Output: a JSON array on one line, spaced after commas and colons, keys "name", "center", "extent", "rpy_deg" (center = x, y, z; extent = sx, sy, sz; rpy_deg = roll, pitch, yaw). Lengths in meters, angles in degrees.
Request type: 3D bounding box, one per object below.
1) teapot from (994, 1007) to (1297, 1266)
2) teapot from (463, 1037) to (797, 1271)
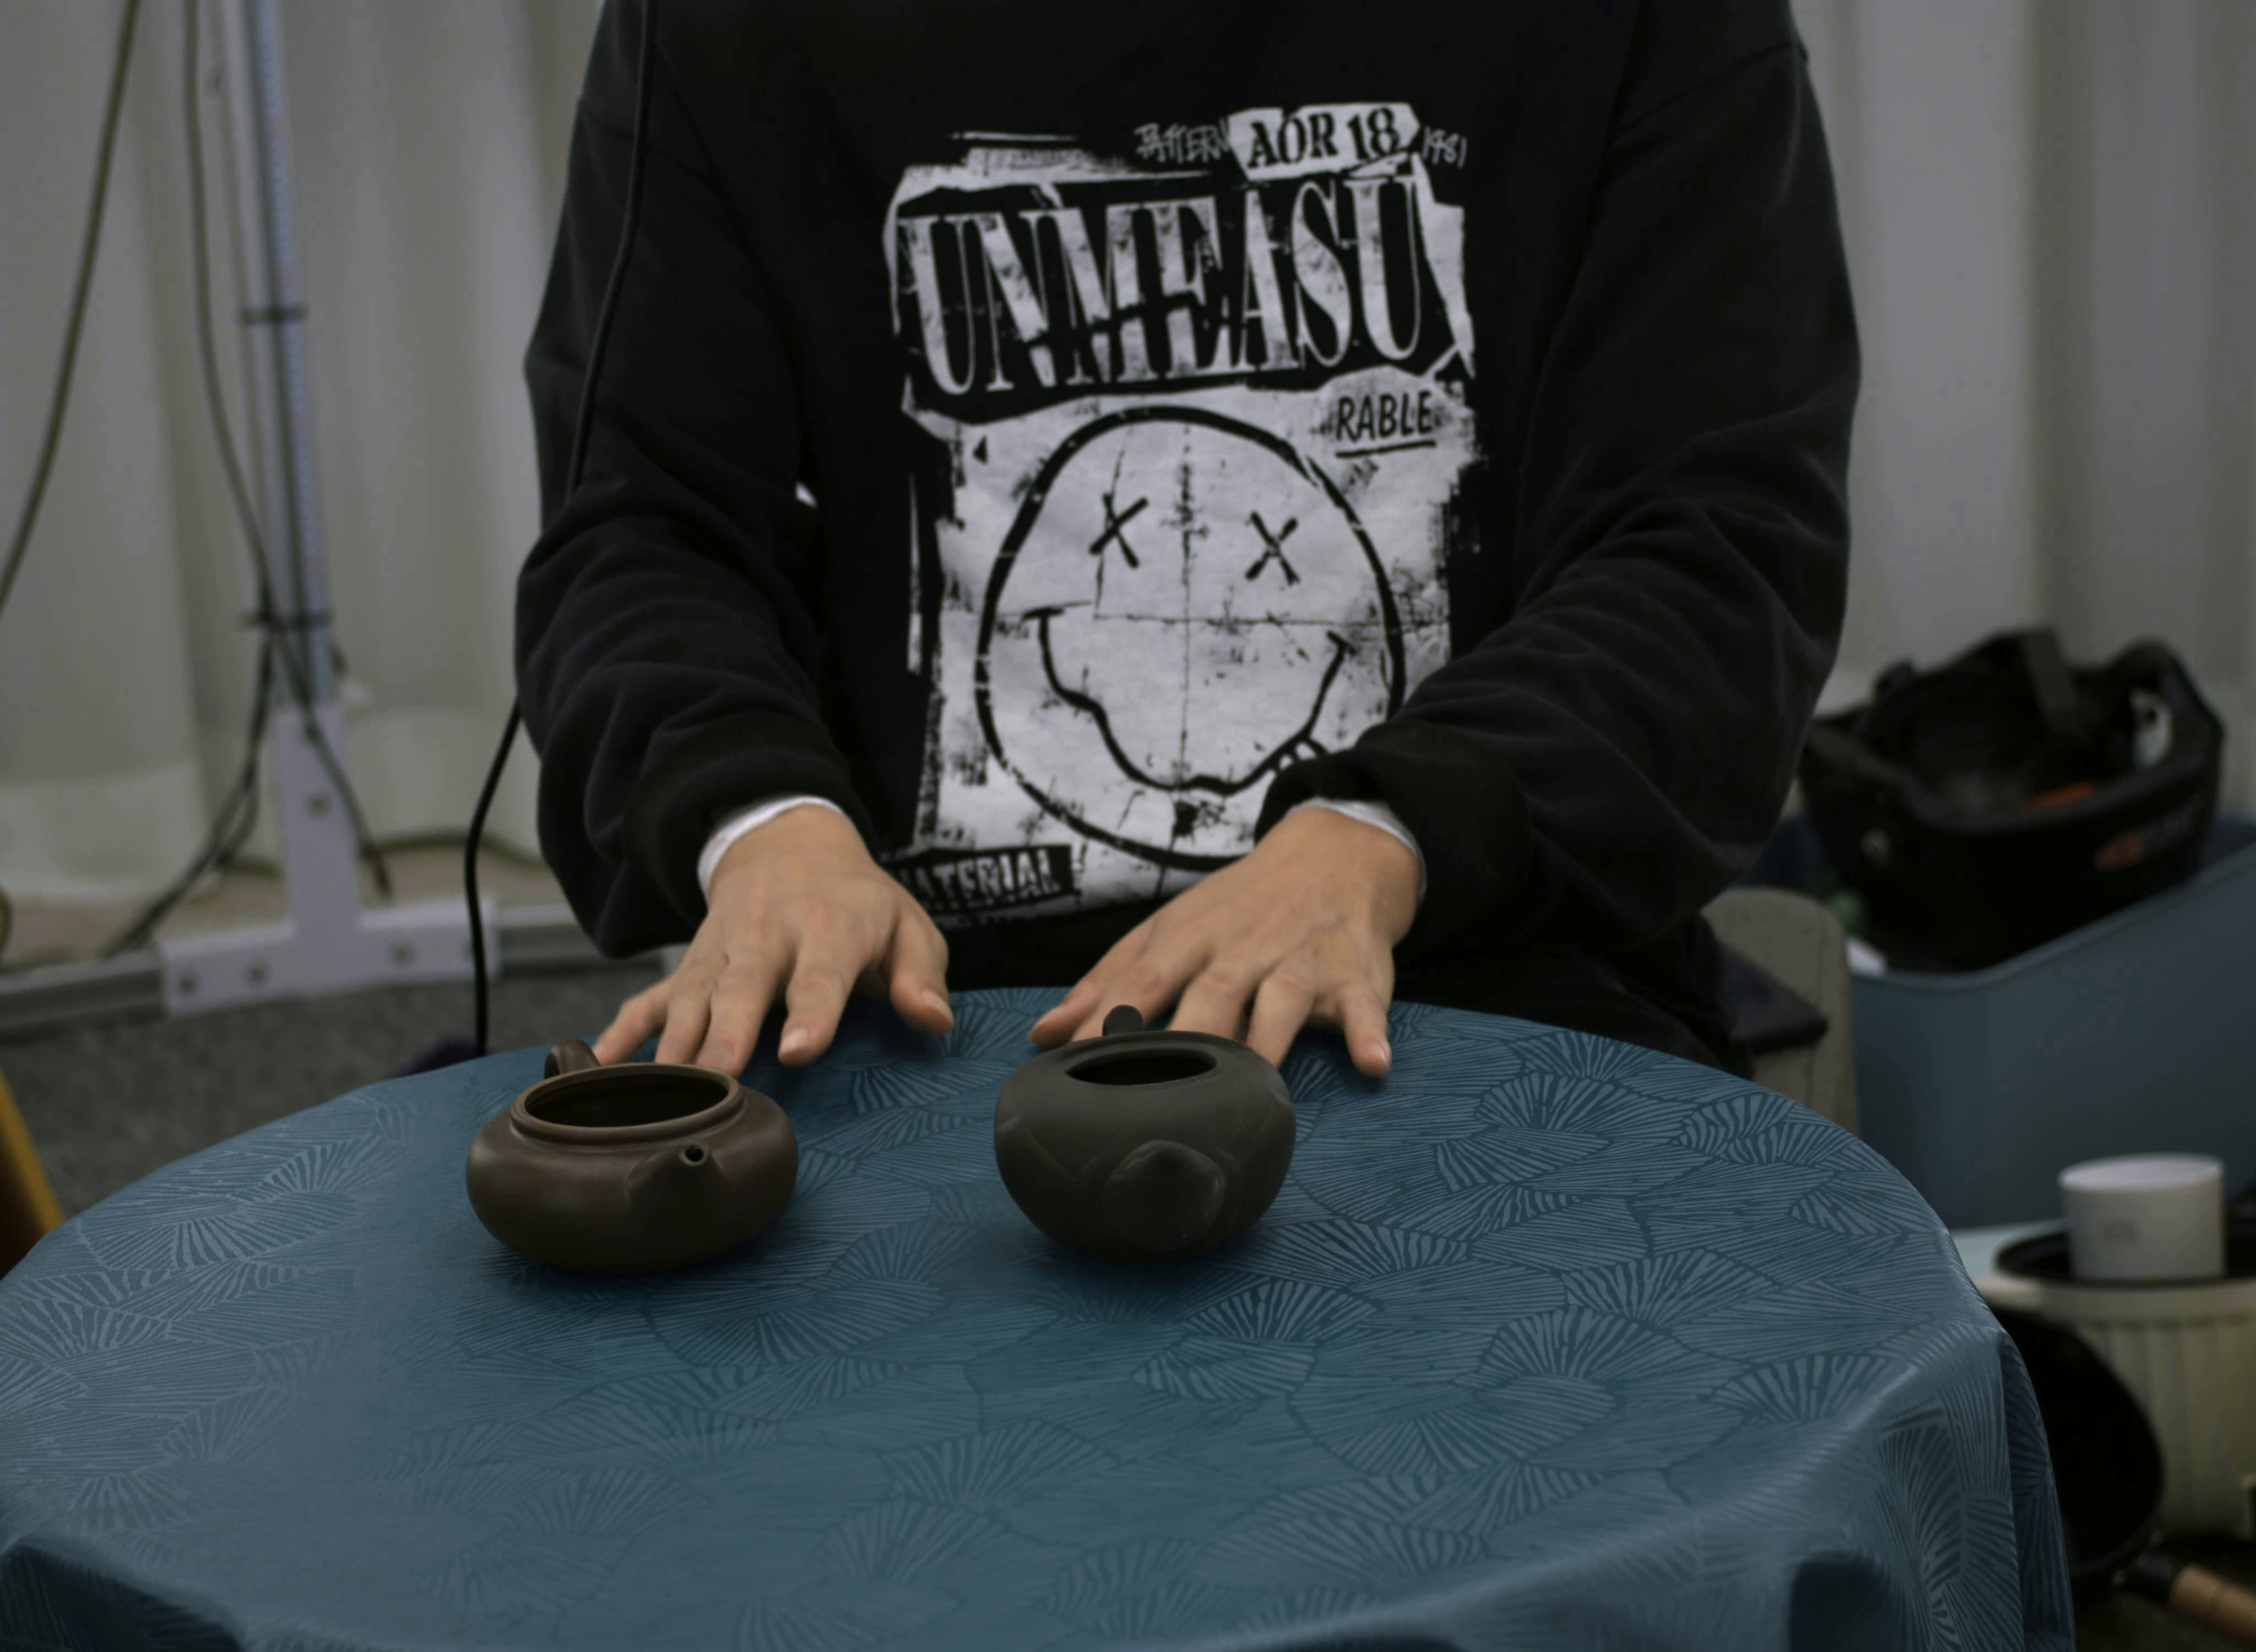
[{"name": "teapot", "center": [0.005, 0.095, 1.665], "extent": [0.092, 0.064, 0.155], "rpy_deg": [-2, 15, -5]}, {"name": "teapot", "center": [-0.155, 0.102, 1.685], "extent": [0.102, 0.053, 0.155], "rpy_deg": [-7, 15, -26]}]
